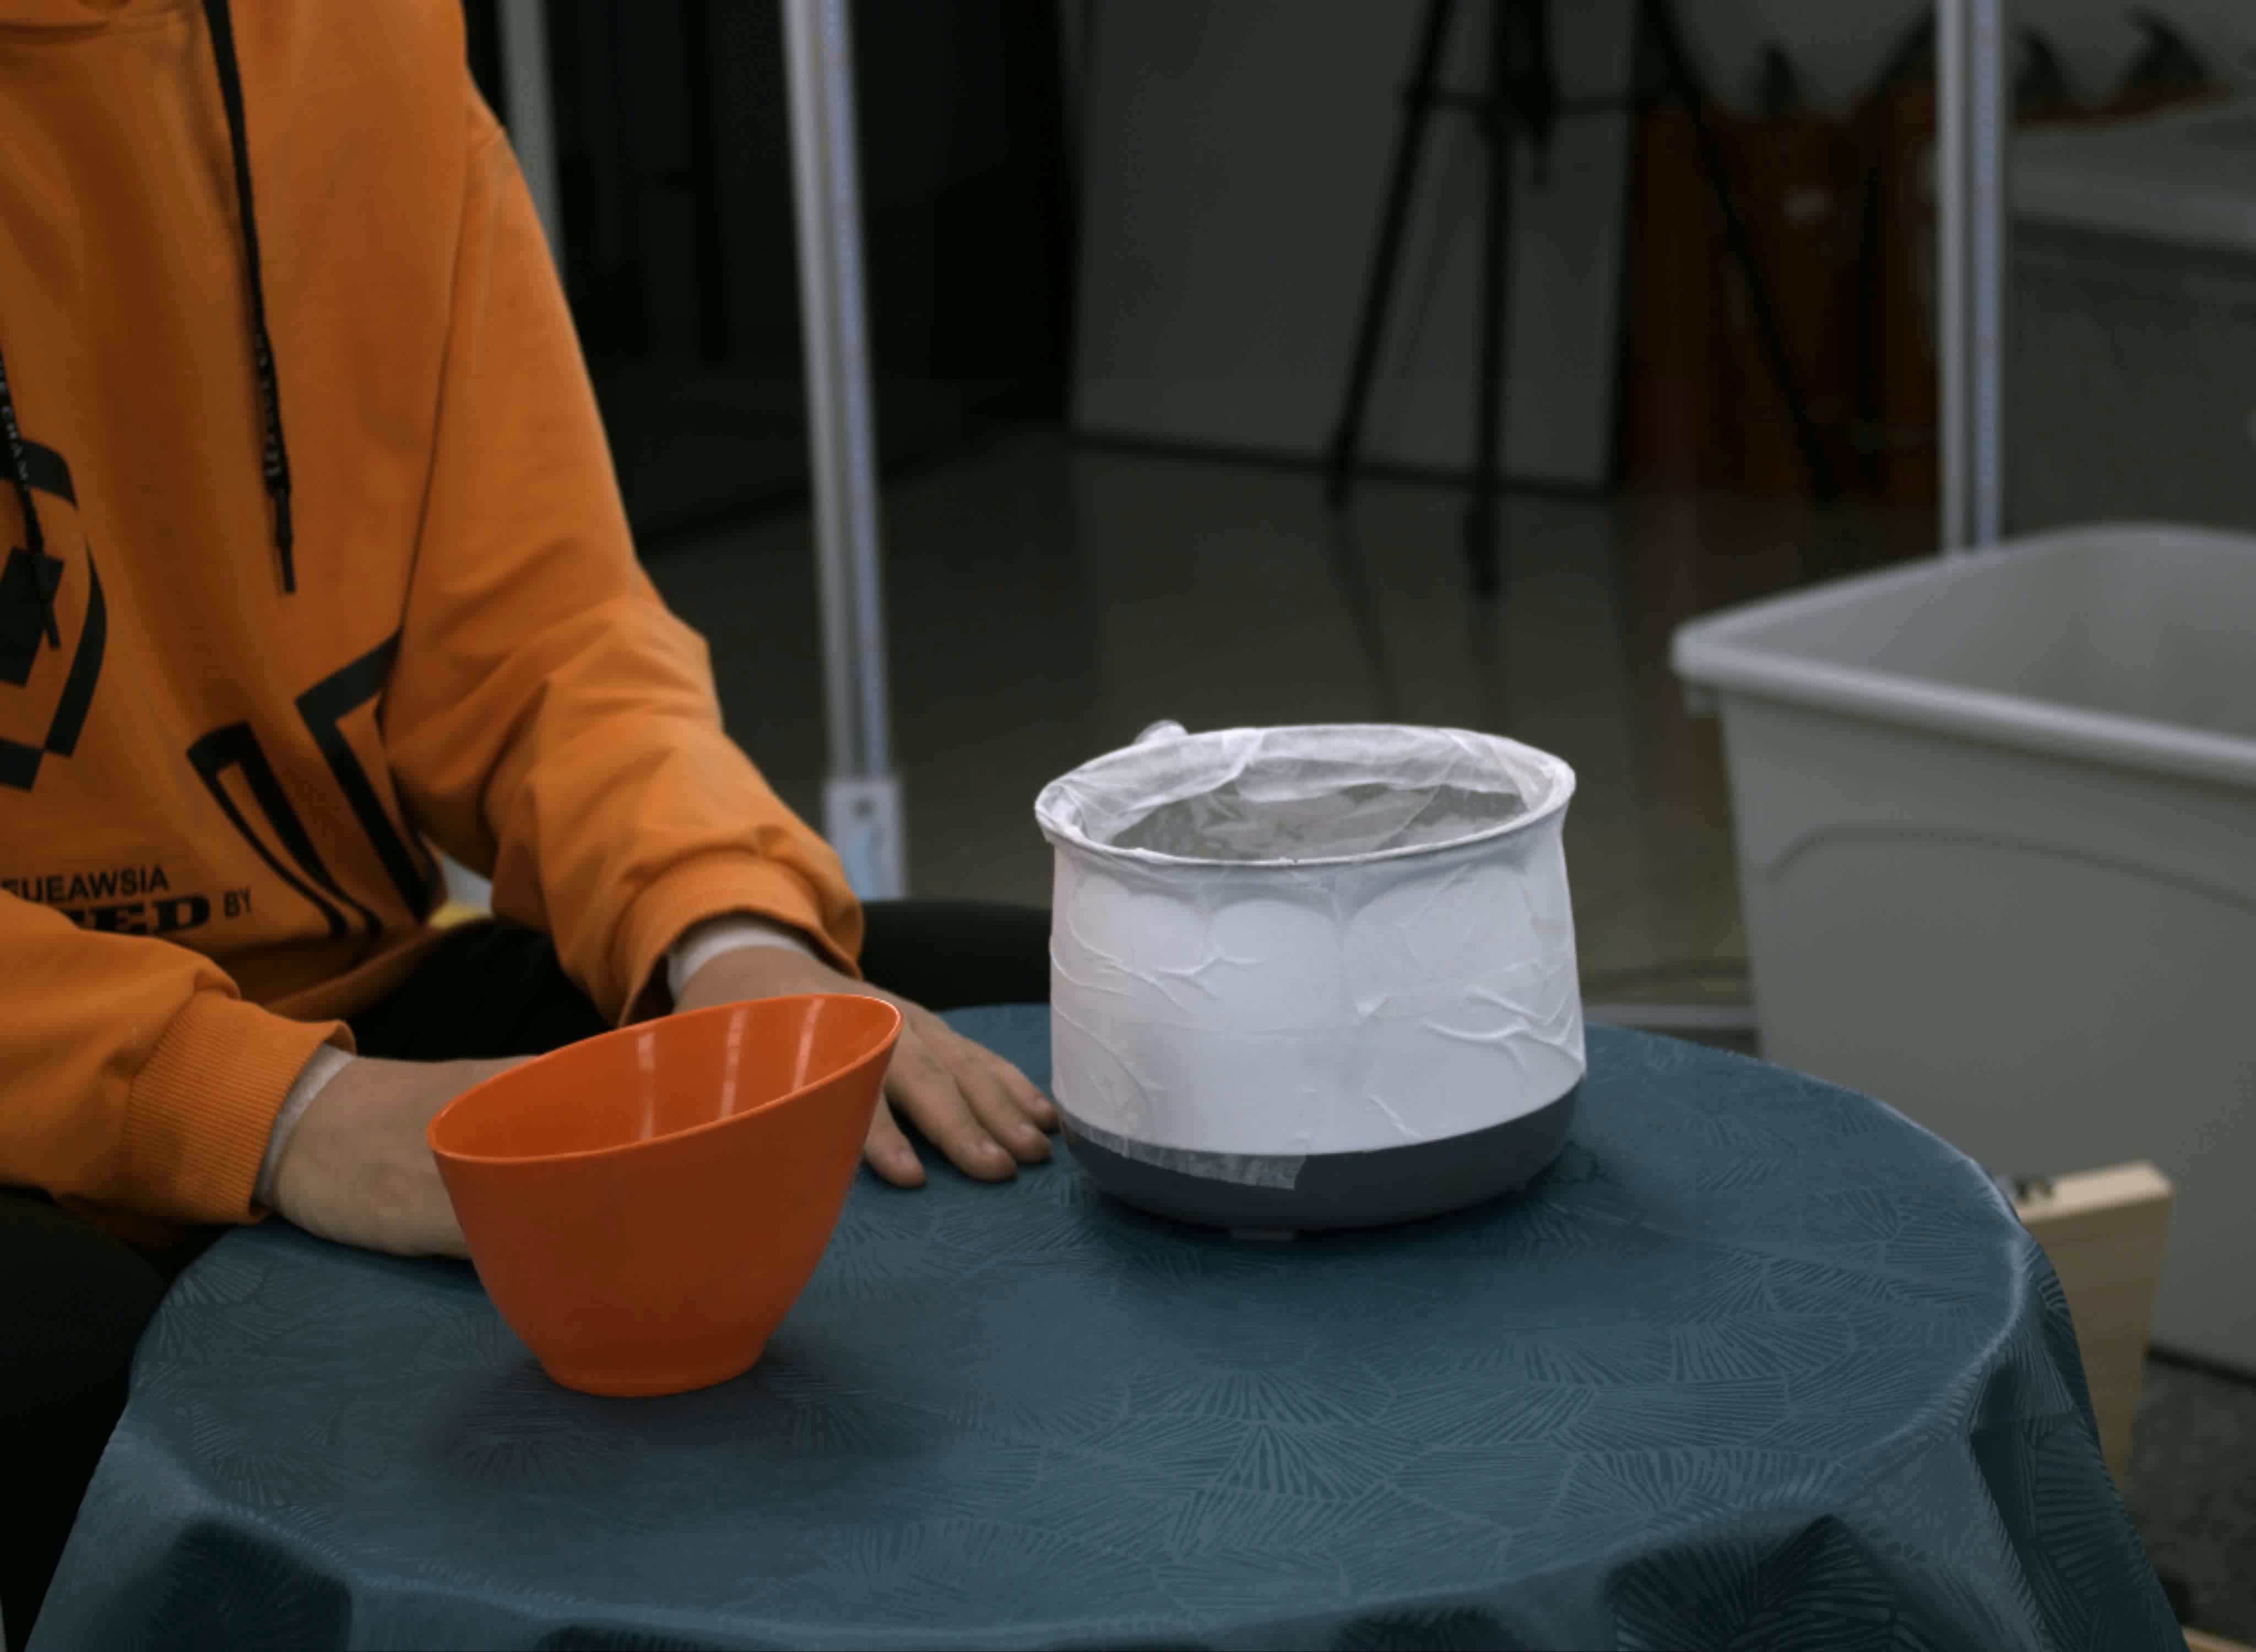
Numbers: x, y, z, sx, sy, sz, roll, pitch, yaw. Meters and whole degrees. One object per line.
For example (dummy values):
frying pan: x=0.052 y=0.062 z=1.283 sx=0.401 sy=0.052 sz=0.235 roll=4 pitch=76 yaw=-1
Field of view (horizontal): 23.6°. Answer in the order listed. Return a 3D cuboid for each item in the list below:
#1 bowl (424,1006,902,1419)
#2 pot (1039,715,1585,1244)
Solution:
bowl: x=-0.136 y=0.118 z=1.626 sx=0.146 sy=0.106 sz=0.148 roll=-6 pitch=13 yaw=0
pot: x=0.048 y=0.043 z=1.782 sx=0.175 sy=0.138 sz=0.236 roll=-10 pitch=15 yaw=-26
